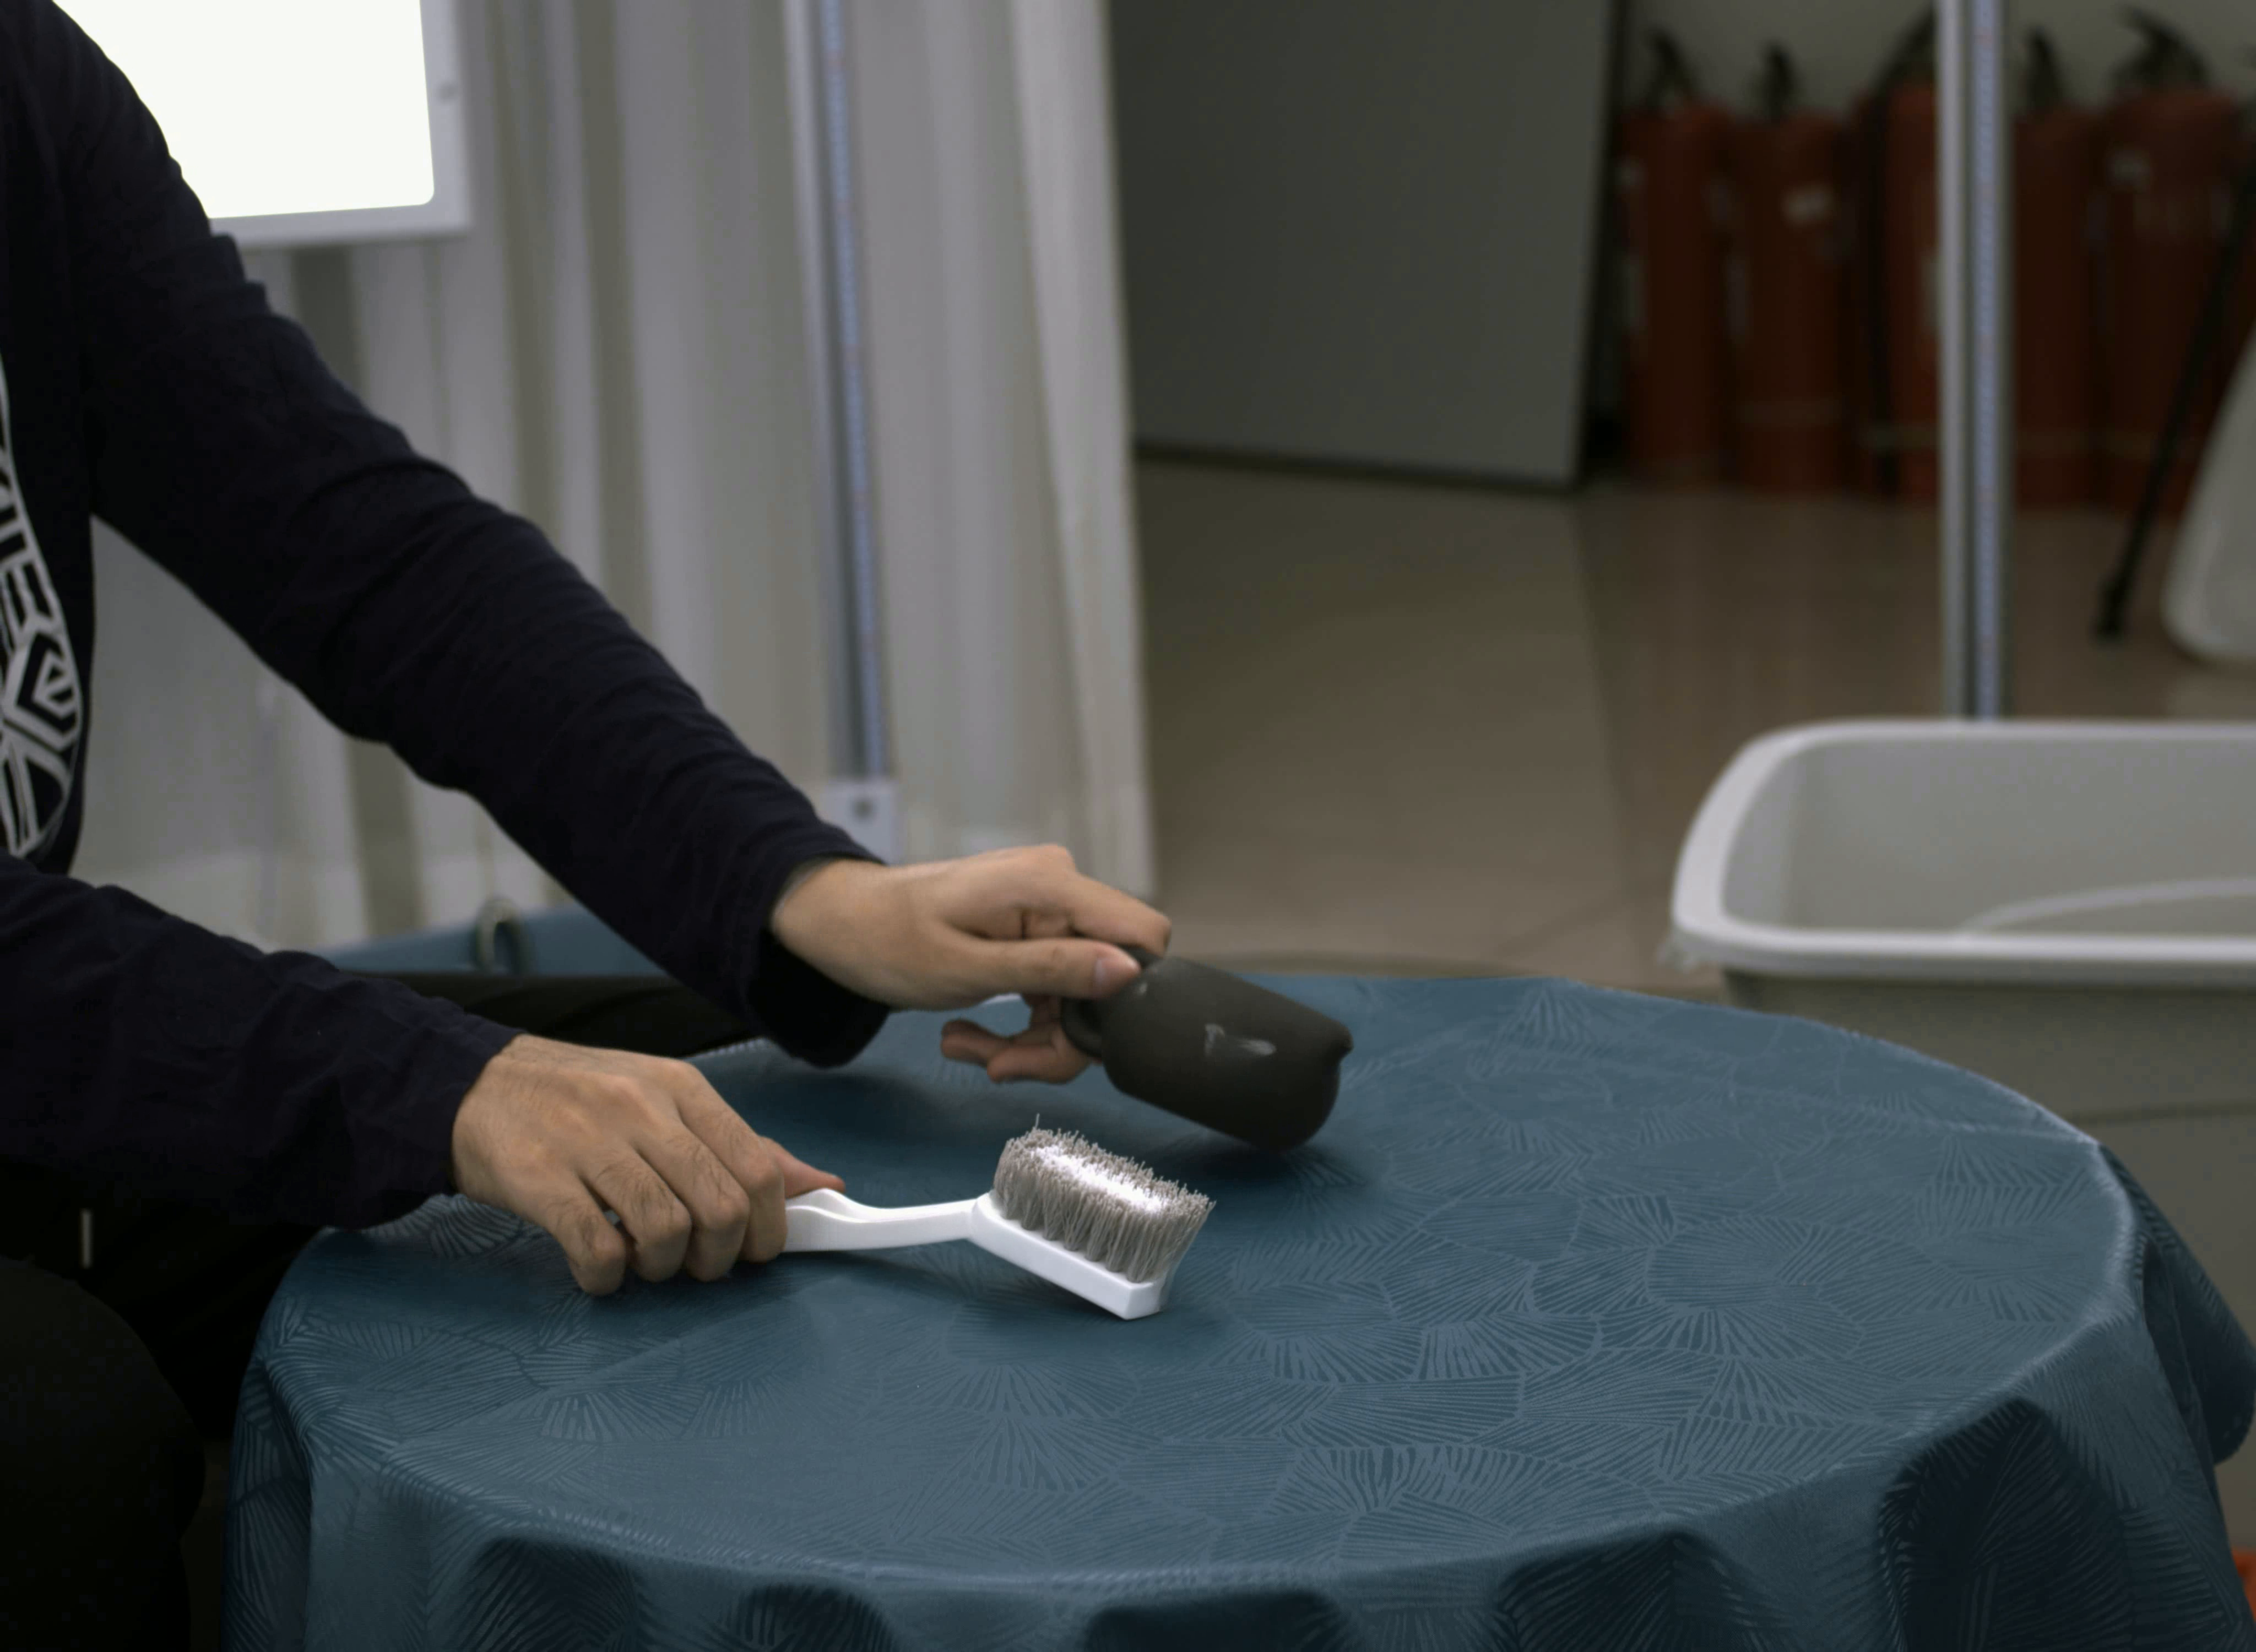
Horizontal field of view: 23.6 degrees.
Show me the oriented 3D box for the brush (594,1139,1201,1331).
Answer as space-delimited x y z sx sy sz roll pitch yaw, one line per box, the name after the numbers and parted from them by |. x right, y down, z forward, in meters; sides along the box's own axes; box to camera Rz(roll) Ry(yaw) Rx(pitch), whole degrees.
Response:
-0.079 0.117 1.716 0.245 0.051 0.034 7 22 38 | brush

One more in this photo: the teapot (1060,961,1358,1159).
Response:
0.024 0.075 1.797 0.115 0.053 0.081 18 -2 37 | teapot
